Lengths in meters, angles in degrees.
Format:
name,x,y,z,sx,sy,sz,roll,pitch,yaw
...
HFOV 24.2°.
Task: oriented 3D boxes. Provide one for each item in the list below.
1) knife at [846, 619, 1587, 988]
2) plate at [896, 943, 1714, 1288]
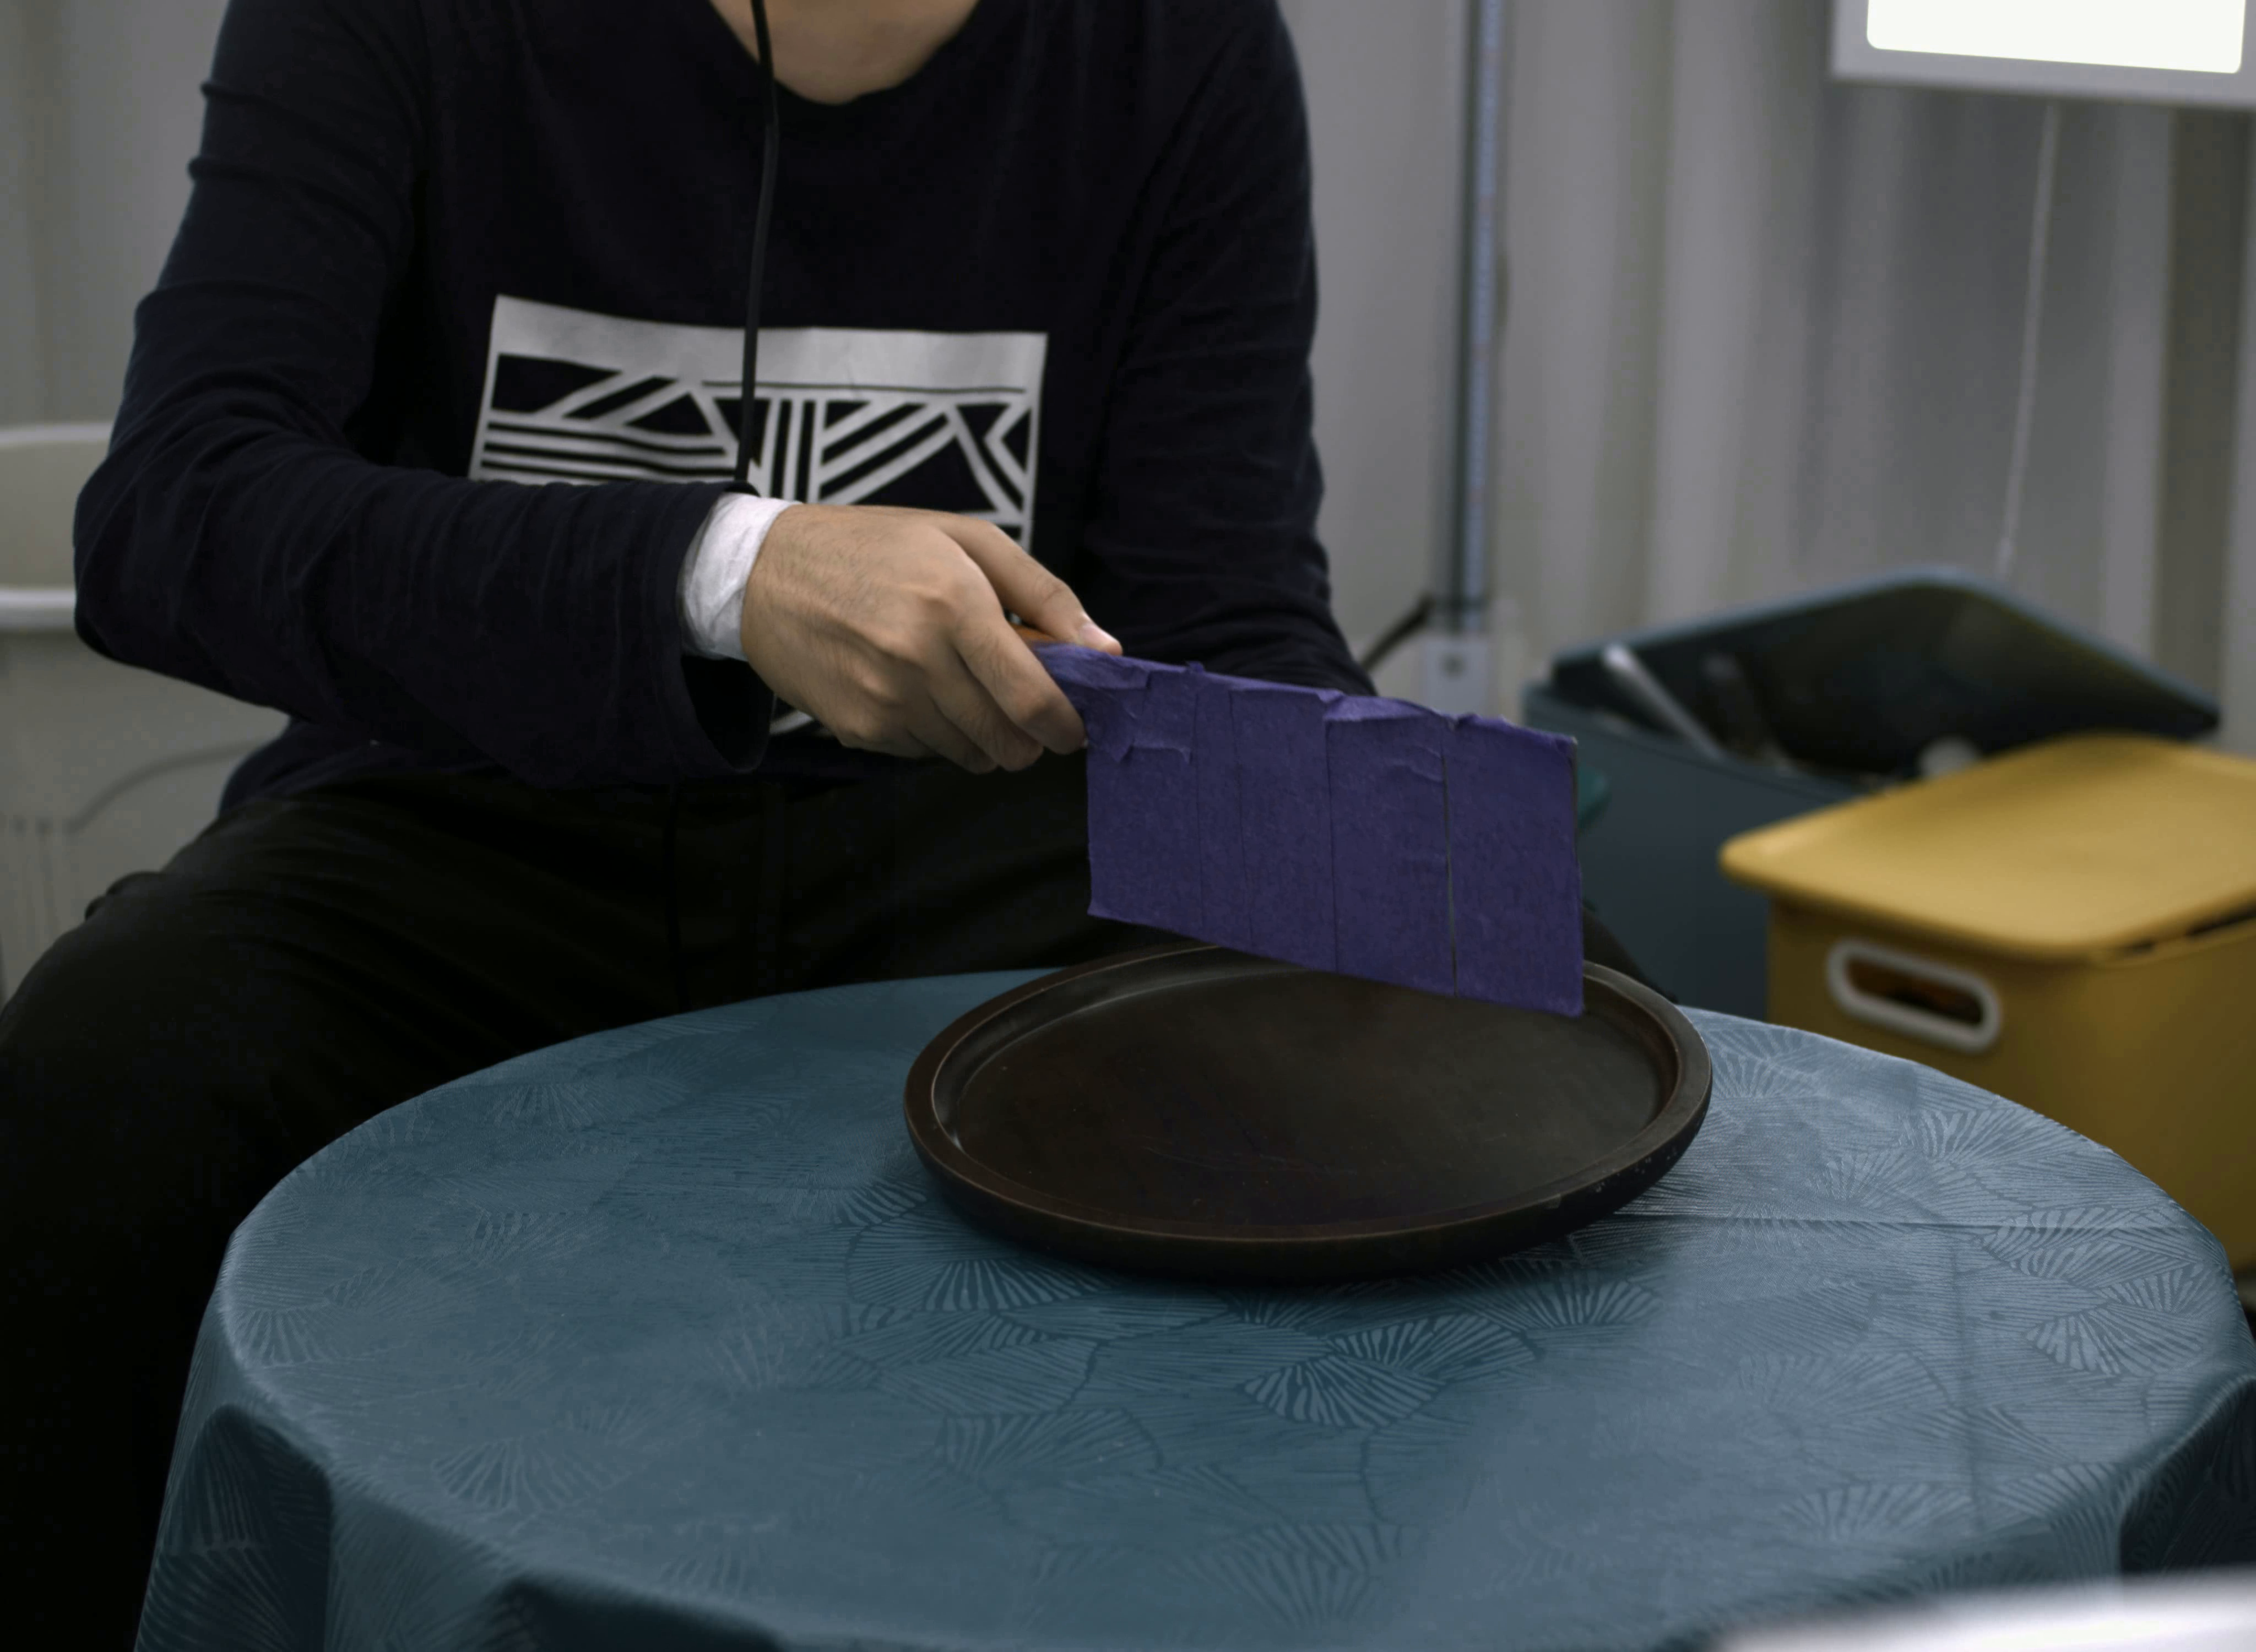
name,x,y,z,sx,sy,sz,roll,pitch,yaw
knife,0.023,-0.007,1.681,0.032,0.104,0.311,-15,18,-42
plate,0.056,0.086,1.640,0.254,0.029,0.253,-1,21,1
